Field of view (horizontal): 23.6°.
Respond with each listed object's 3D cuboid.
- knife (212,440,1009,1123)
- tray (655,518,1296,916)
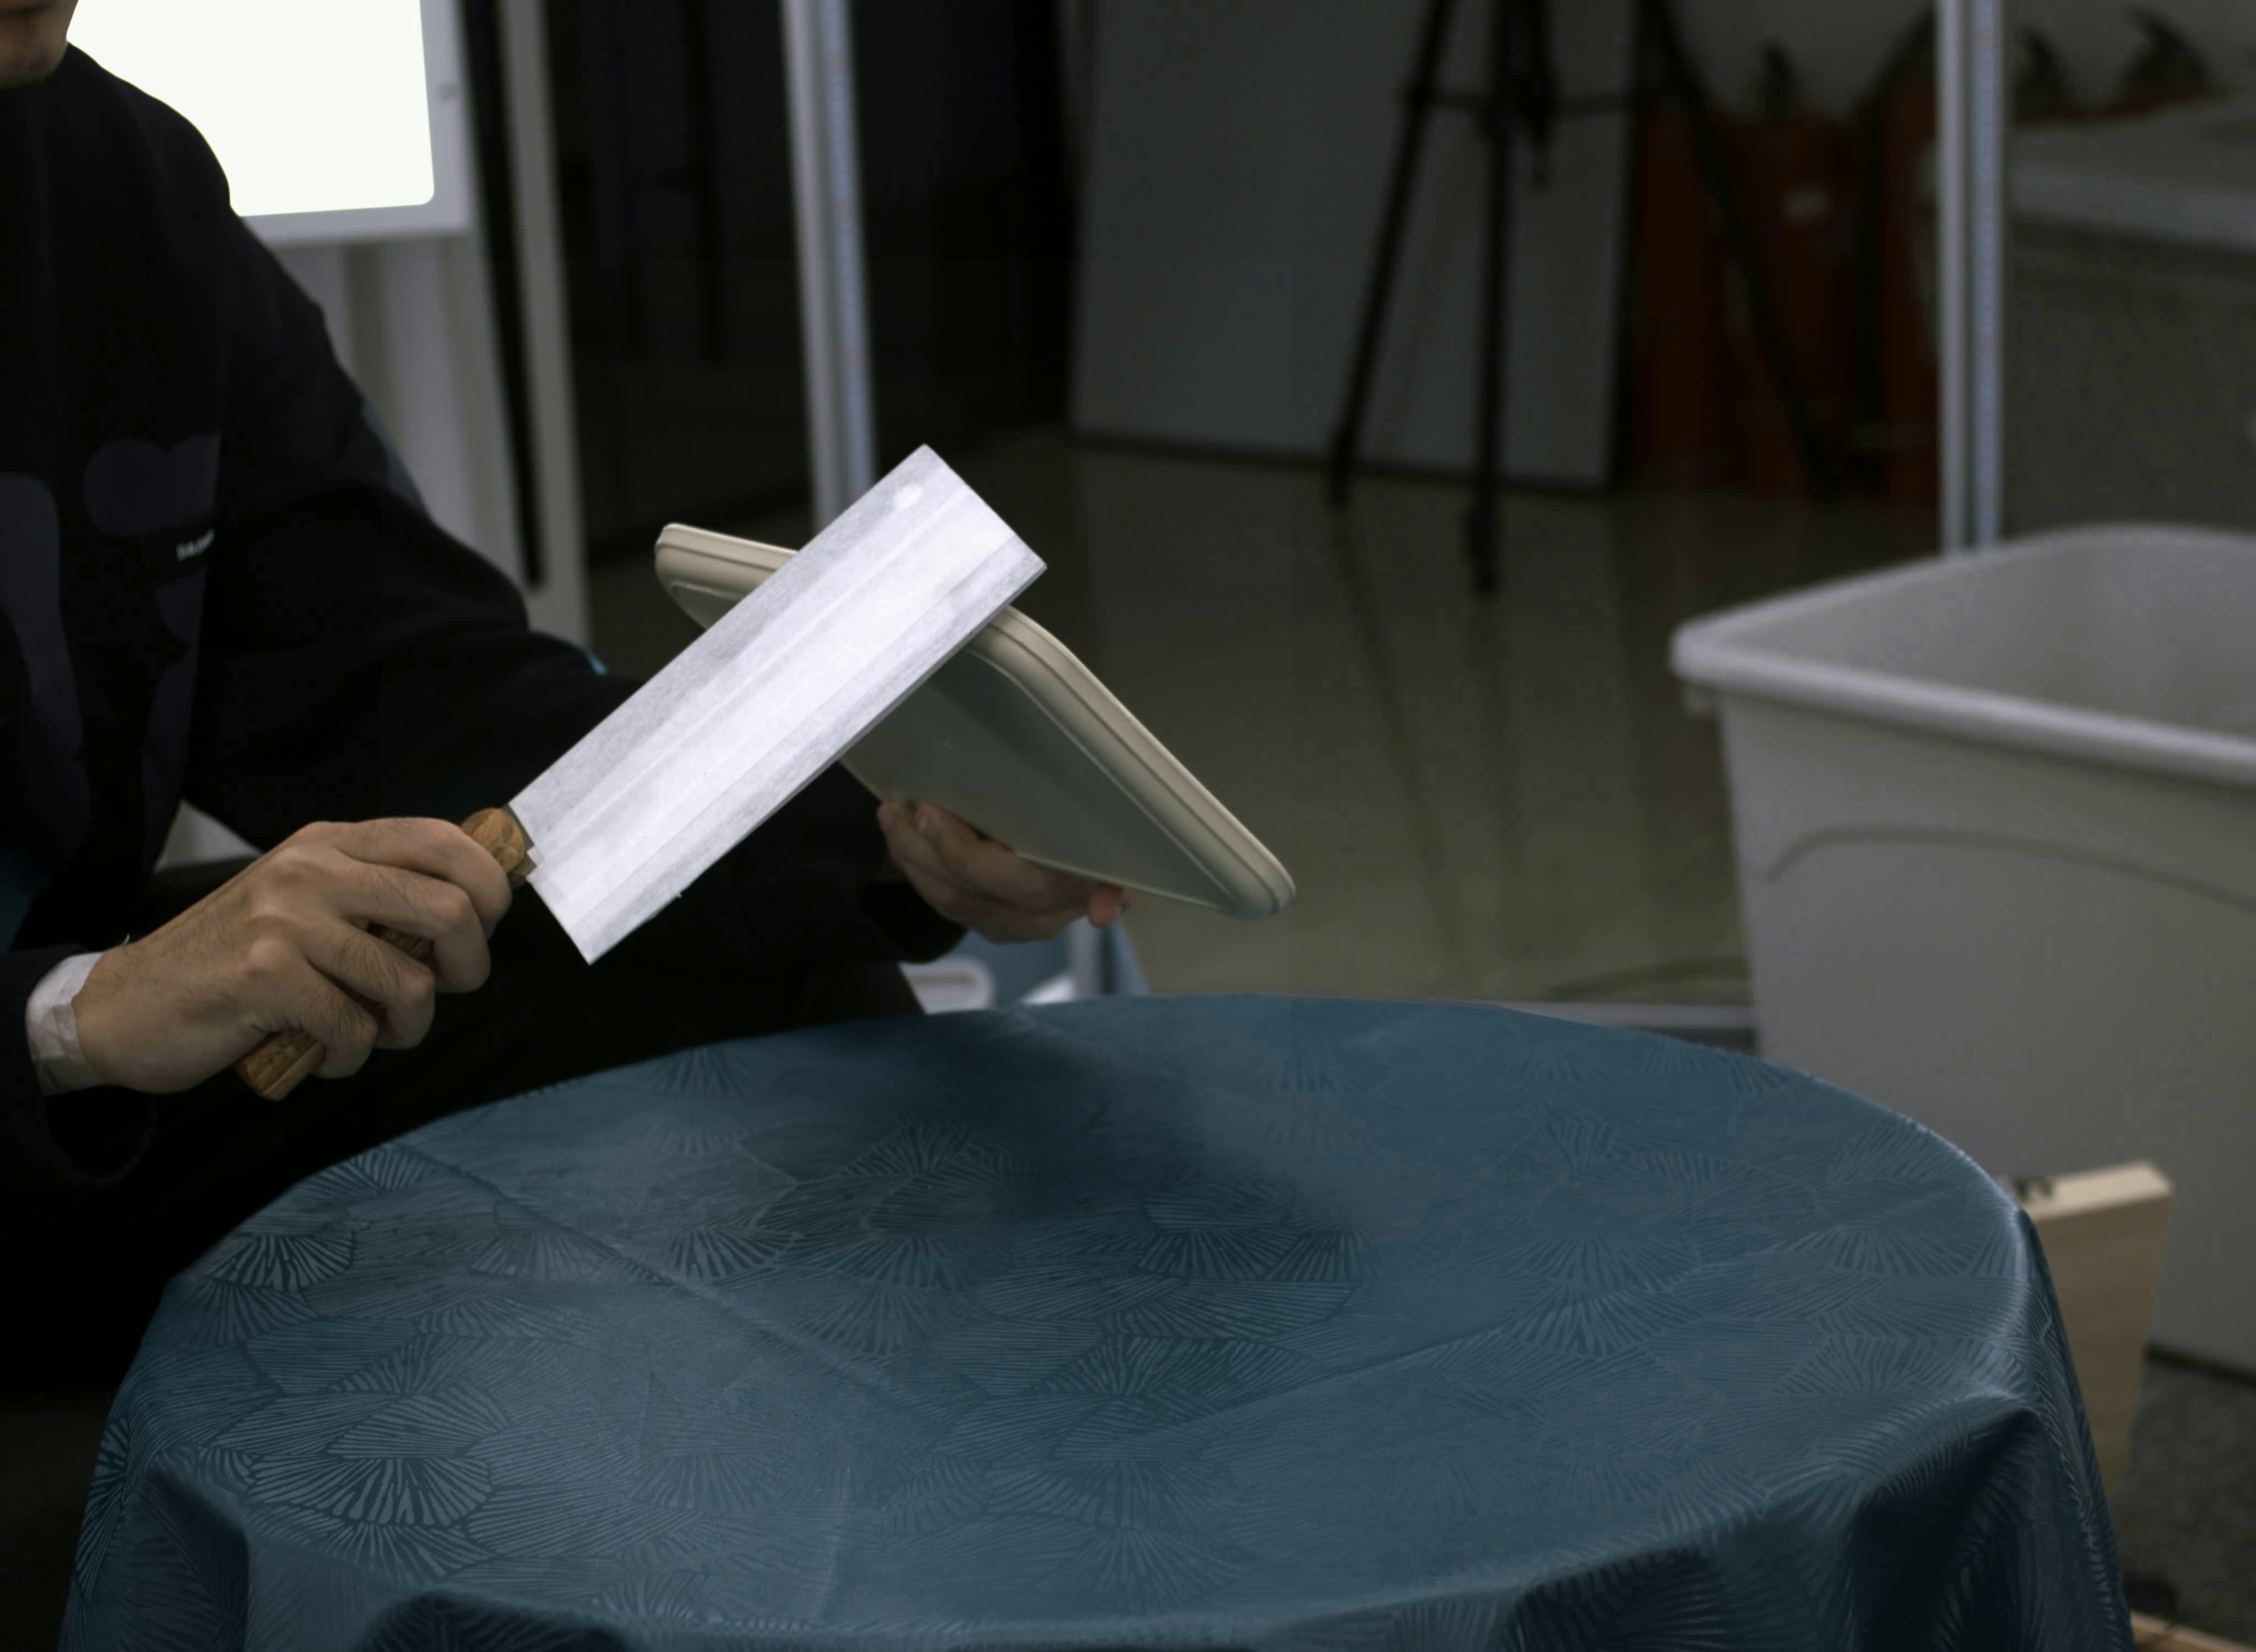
[{"bbox_3d":[-0.159,-0.004,1.701,0.305,0.021,0.094,-42,42,-1],"label":"knife"},{"bbox_3d":[-0.056,-0.035,1.801,0.017,0.169,0.242,-54,32,-15],"label":"tray"}]
